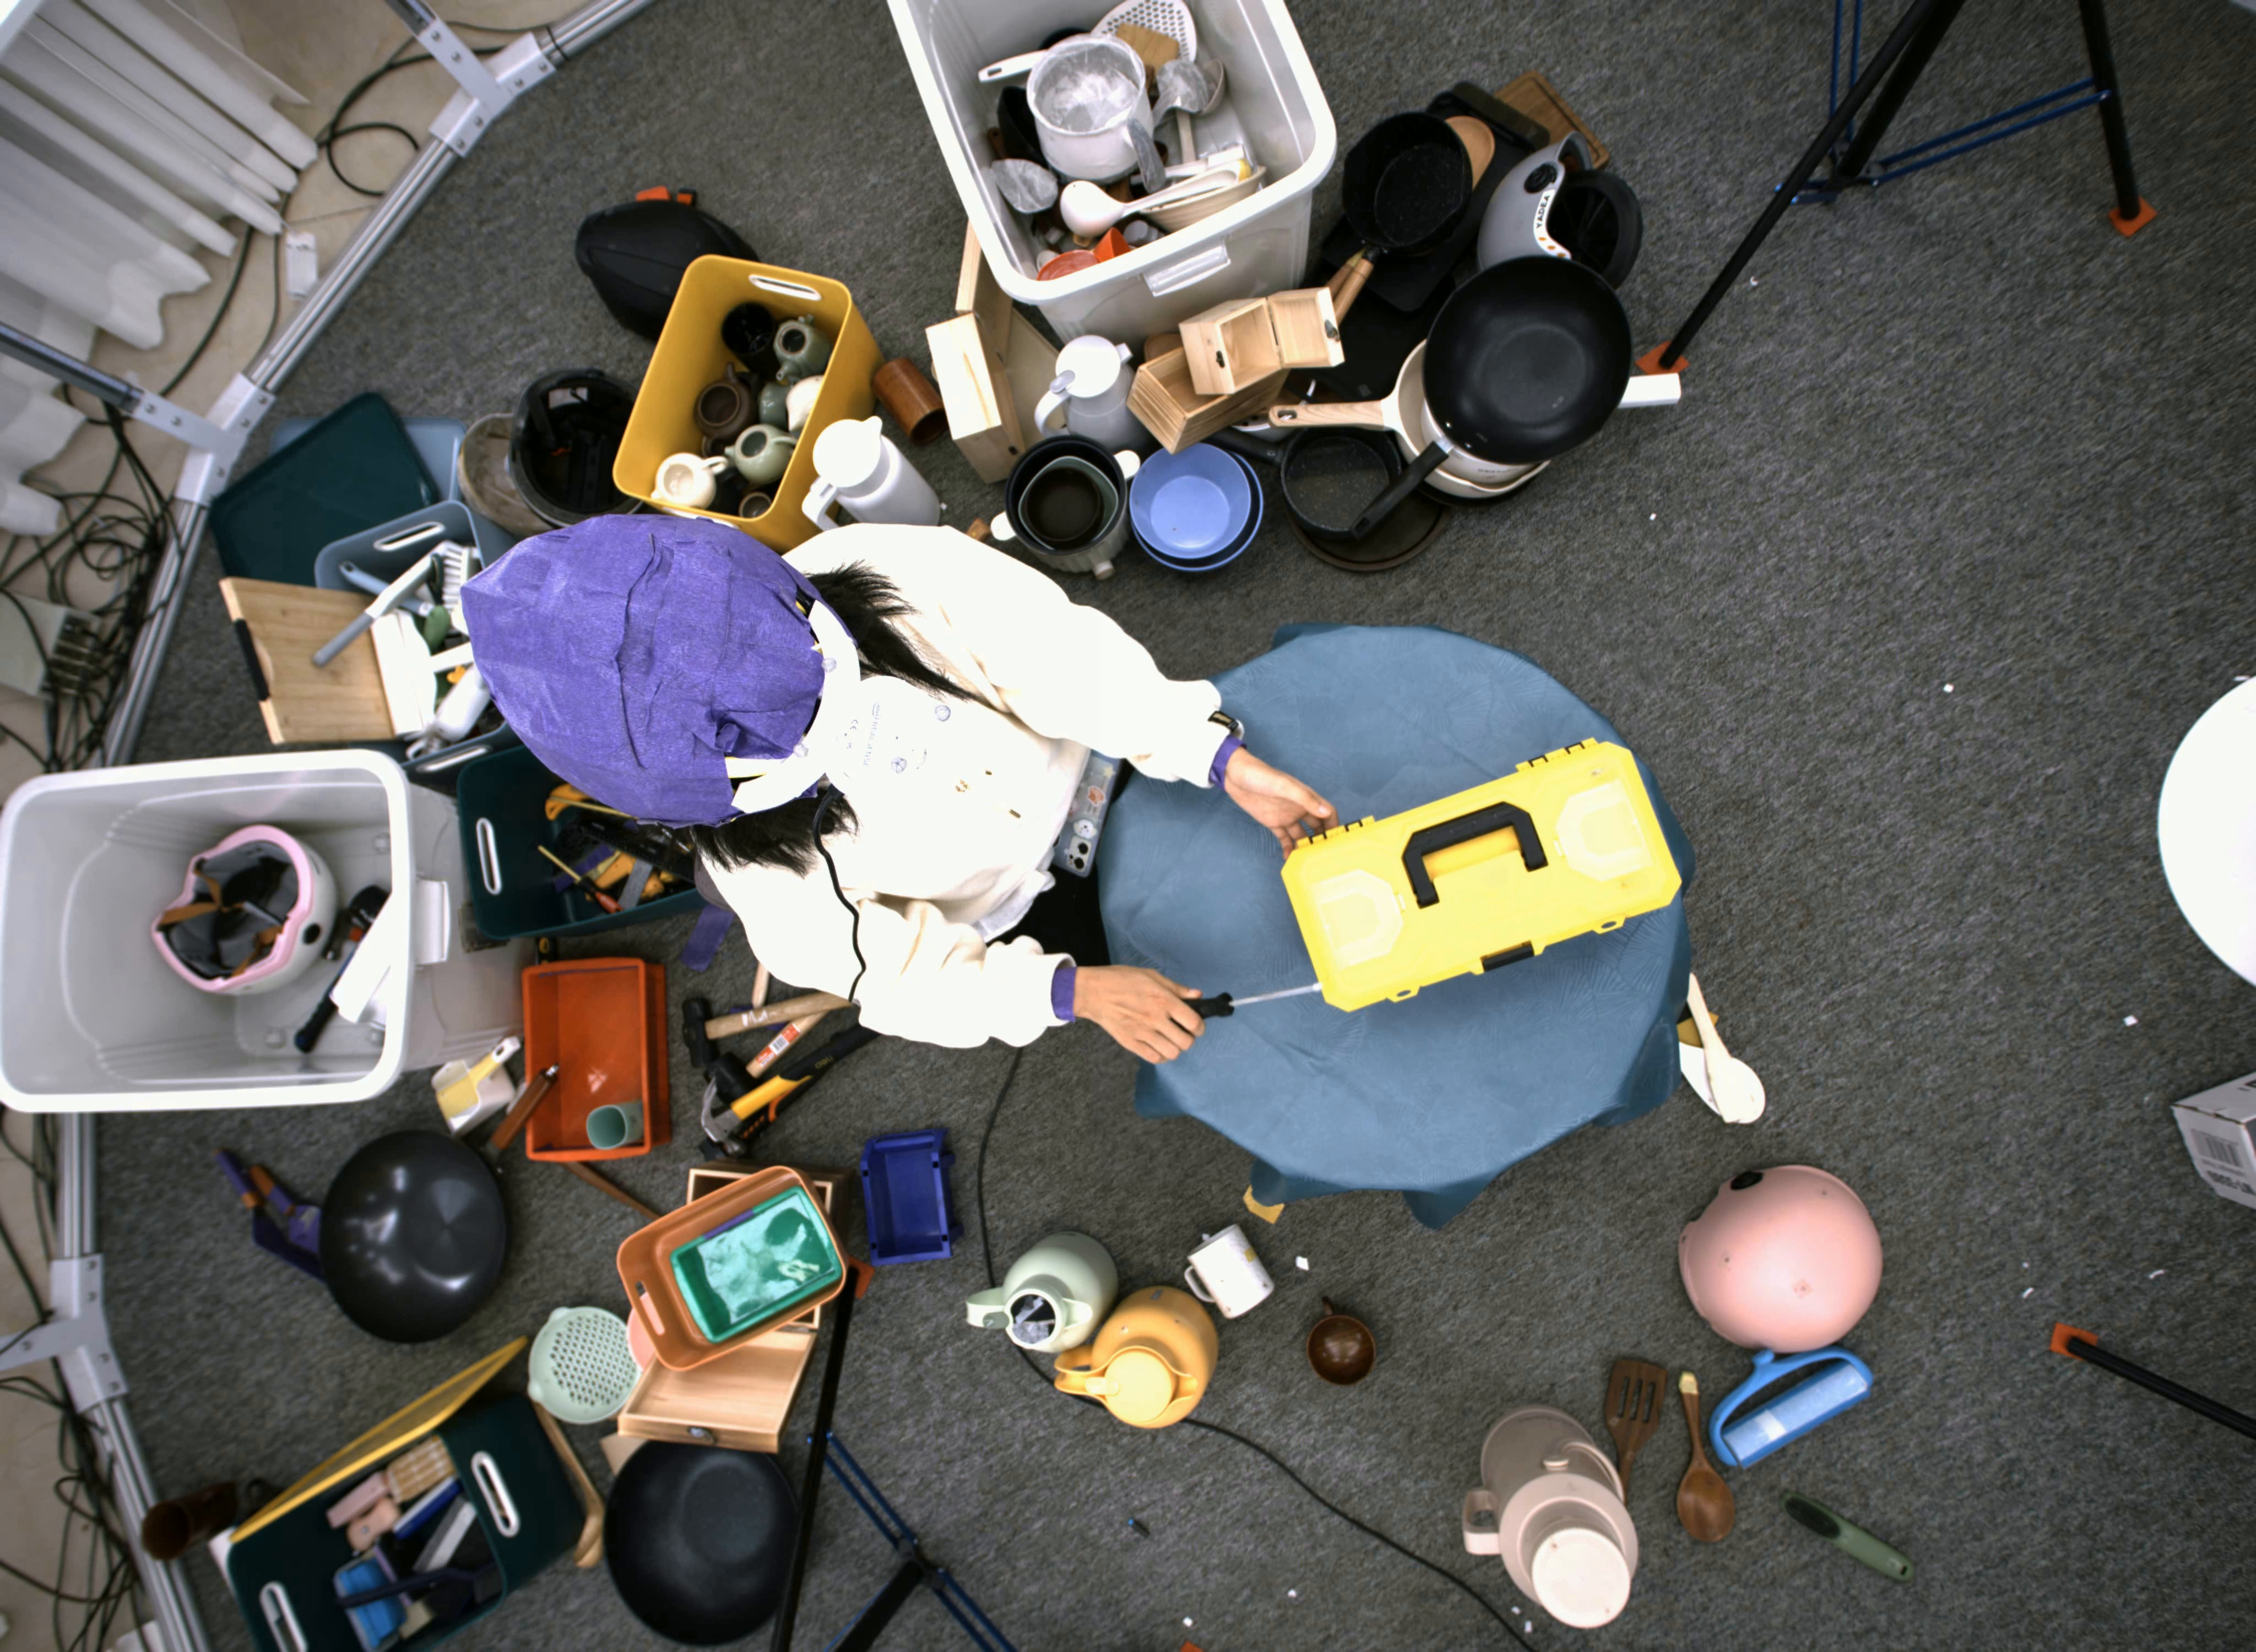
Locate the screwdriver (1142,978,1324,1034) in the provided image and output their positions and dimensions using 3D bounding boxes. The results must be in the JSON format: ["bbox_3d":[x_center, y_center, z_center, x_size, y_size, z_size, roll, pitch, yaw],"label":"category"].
[{"bbox_3d":[0.099,0.172,1.344,0.199,0.031,0.031,-17,81,31],"label":"screwdriver"}]

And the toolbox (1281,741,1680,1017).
[{"bbox_3d":[0.341,0.054,1.360,0.353,0.173,0.180,-19,82,8],"label":"toolbox"}]
